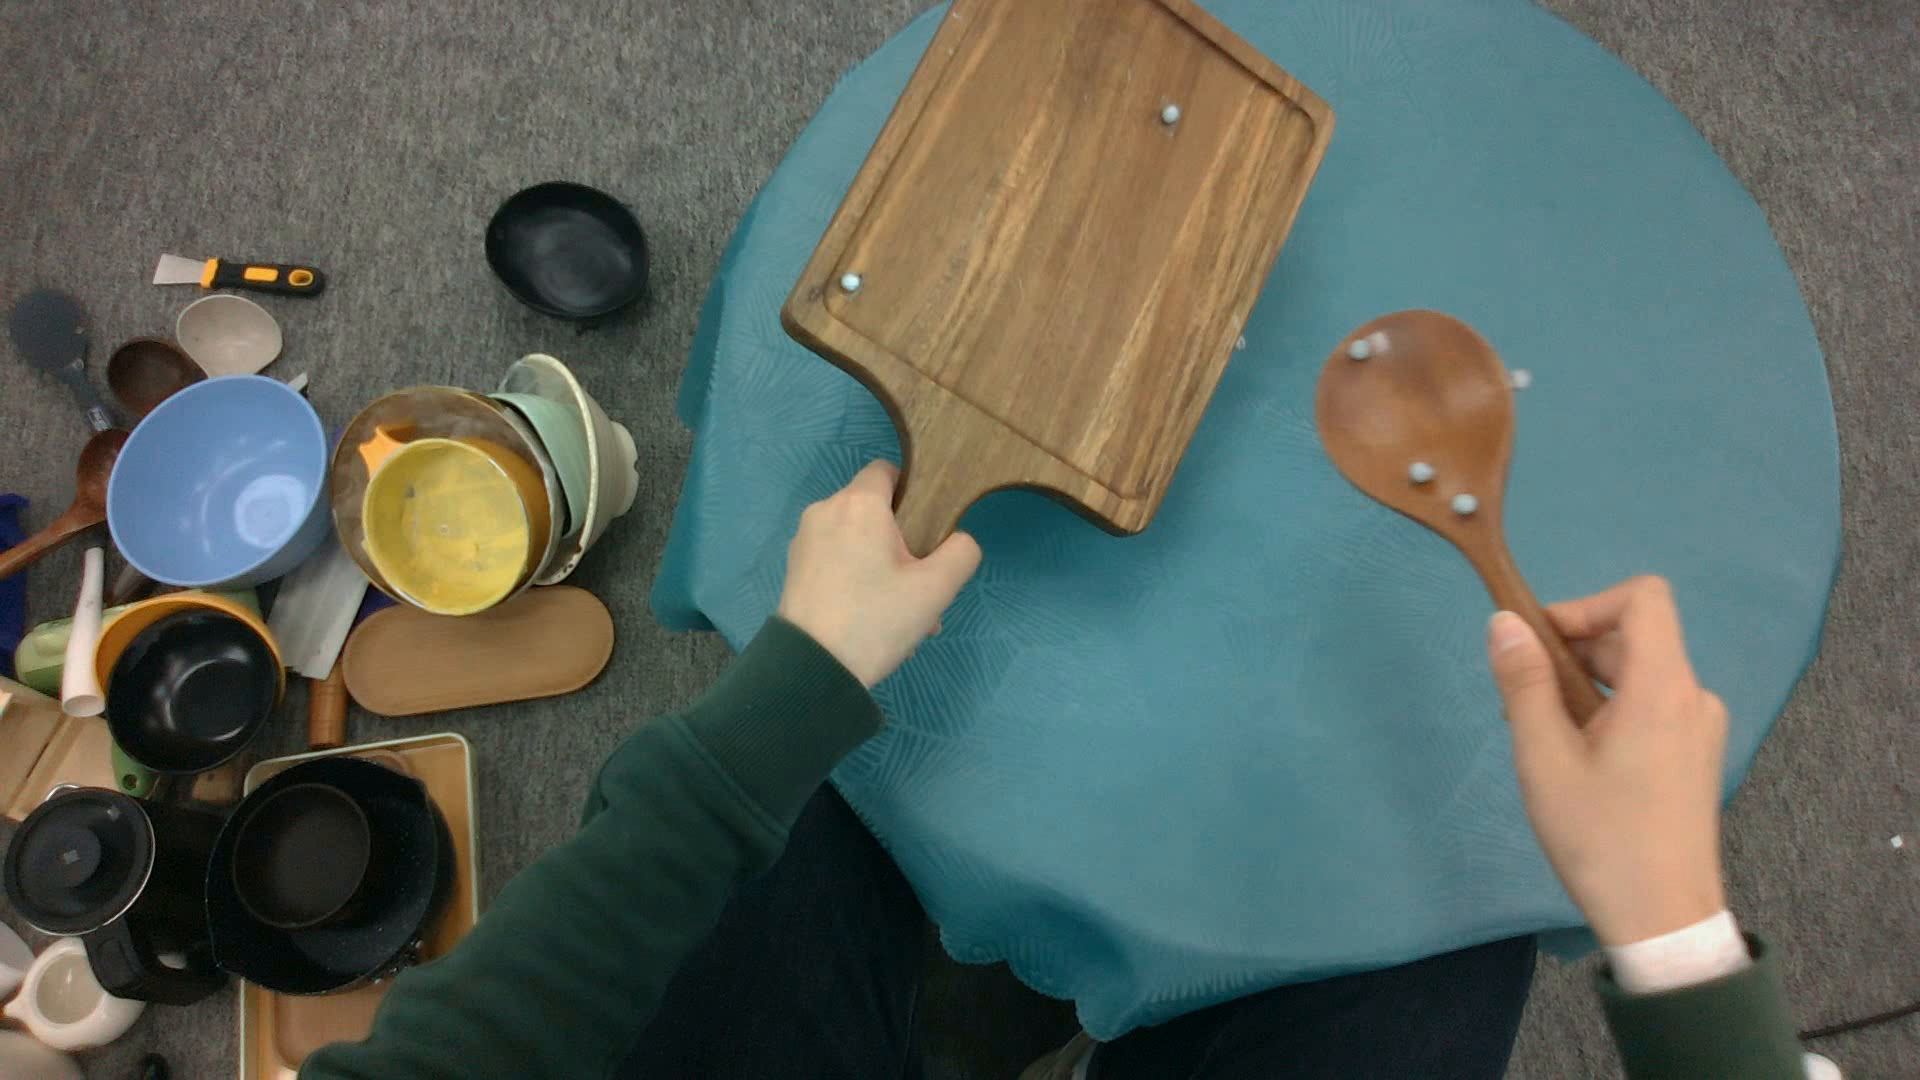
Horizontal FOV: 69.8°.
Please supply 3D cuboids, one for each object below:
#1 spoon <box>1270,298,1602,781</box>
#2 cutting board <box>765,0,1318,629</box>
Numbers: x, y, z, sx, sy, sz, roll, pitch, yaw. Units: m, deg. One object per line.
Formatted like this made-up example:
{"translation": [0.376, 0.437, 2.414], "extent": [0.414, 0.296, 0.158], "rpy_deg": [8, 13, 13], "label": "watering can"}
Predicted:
{"translation": [0.186, -0.007, 0.534], "extent": [0.075, 0.017, 0.216], "rpy_deg": [-26, 59, 12], "label": "spoon"}
{"translation": [0.027, -0.118, 0.637], "extent": [0.201, 0.023, 0.353], "rpy_deg": [31, 75, -16], "label": "cutting board"}
